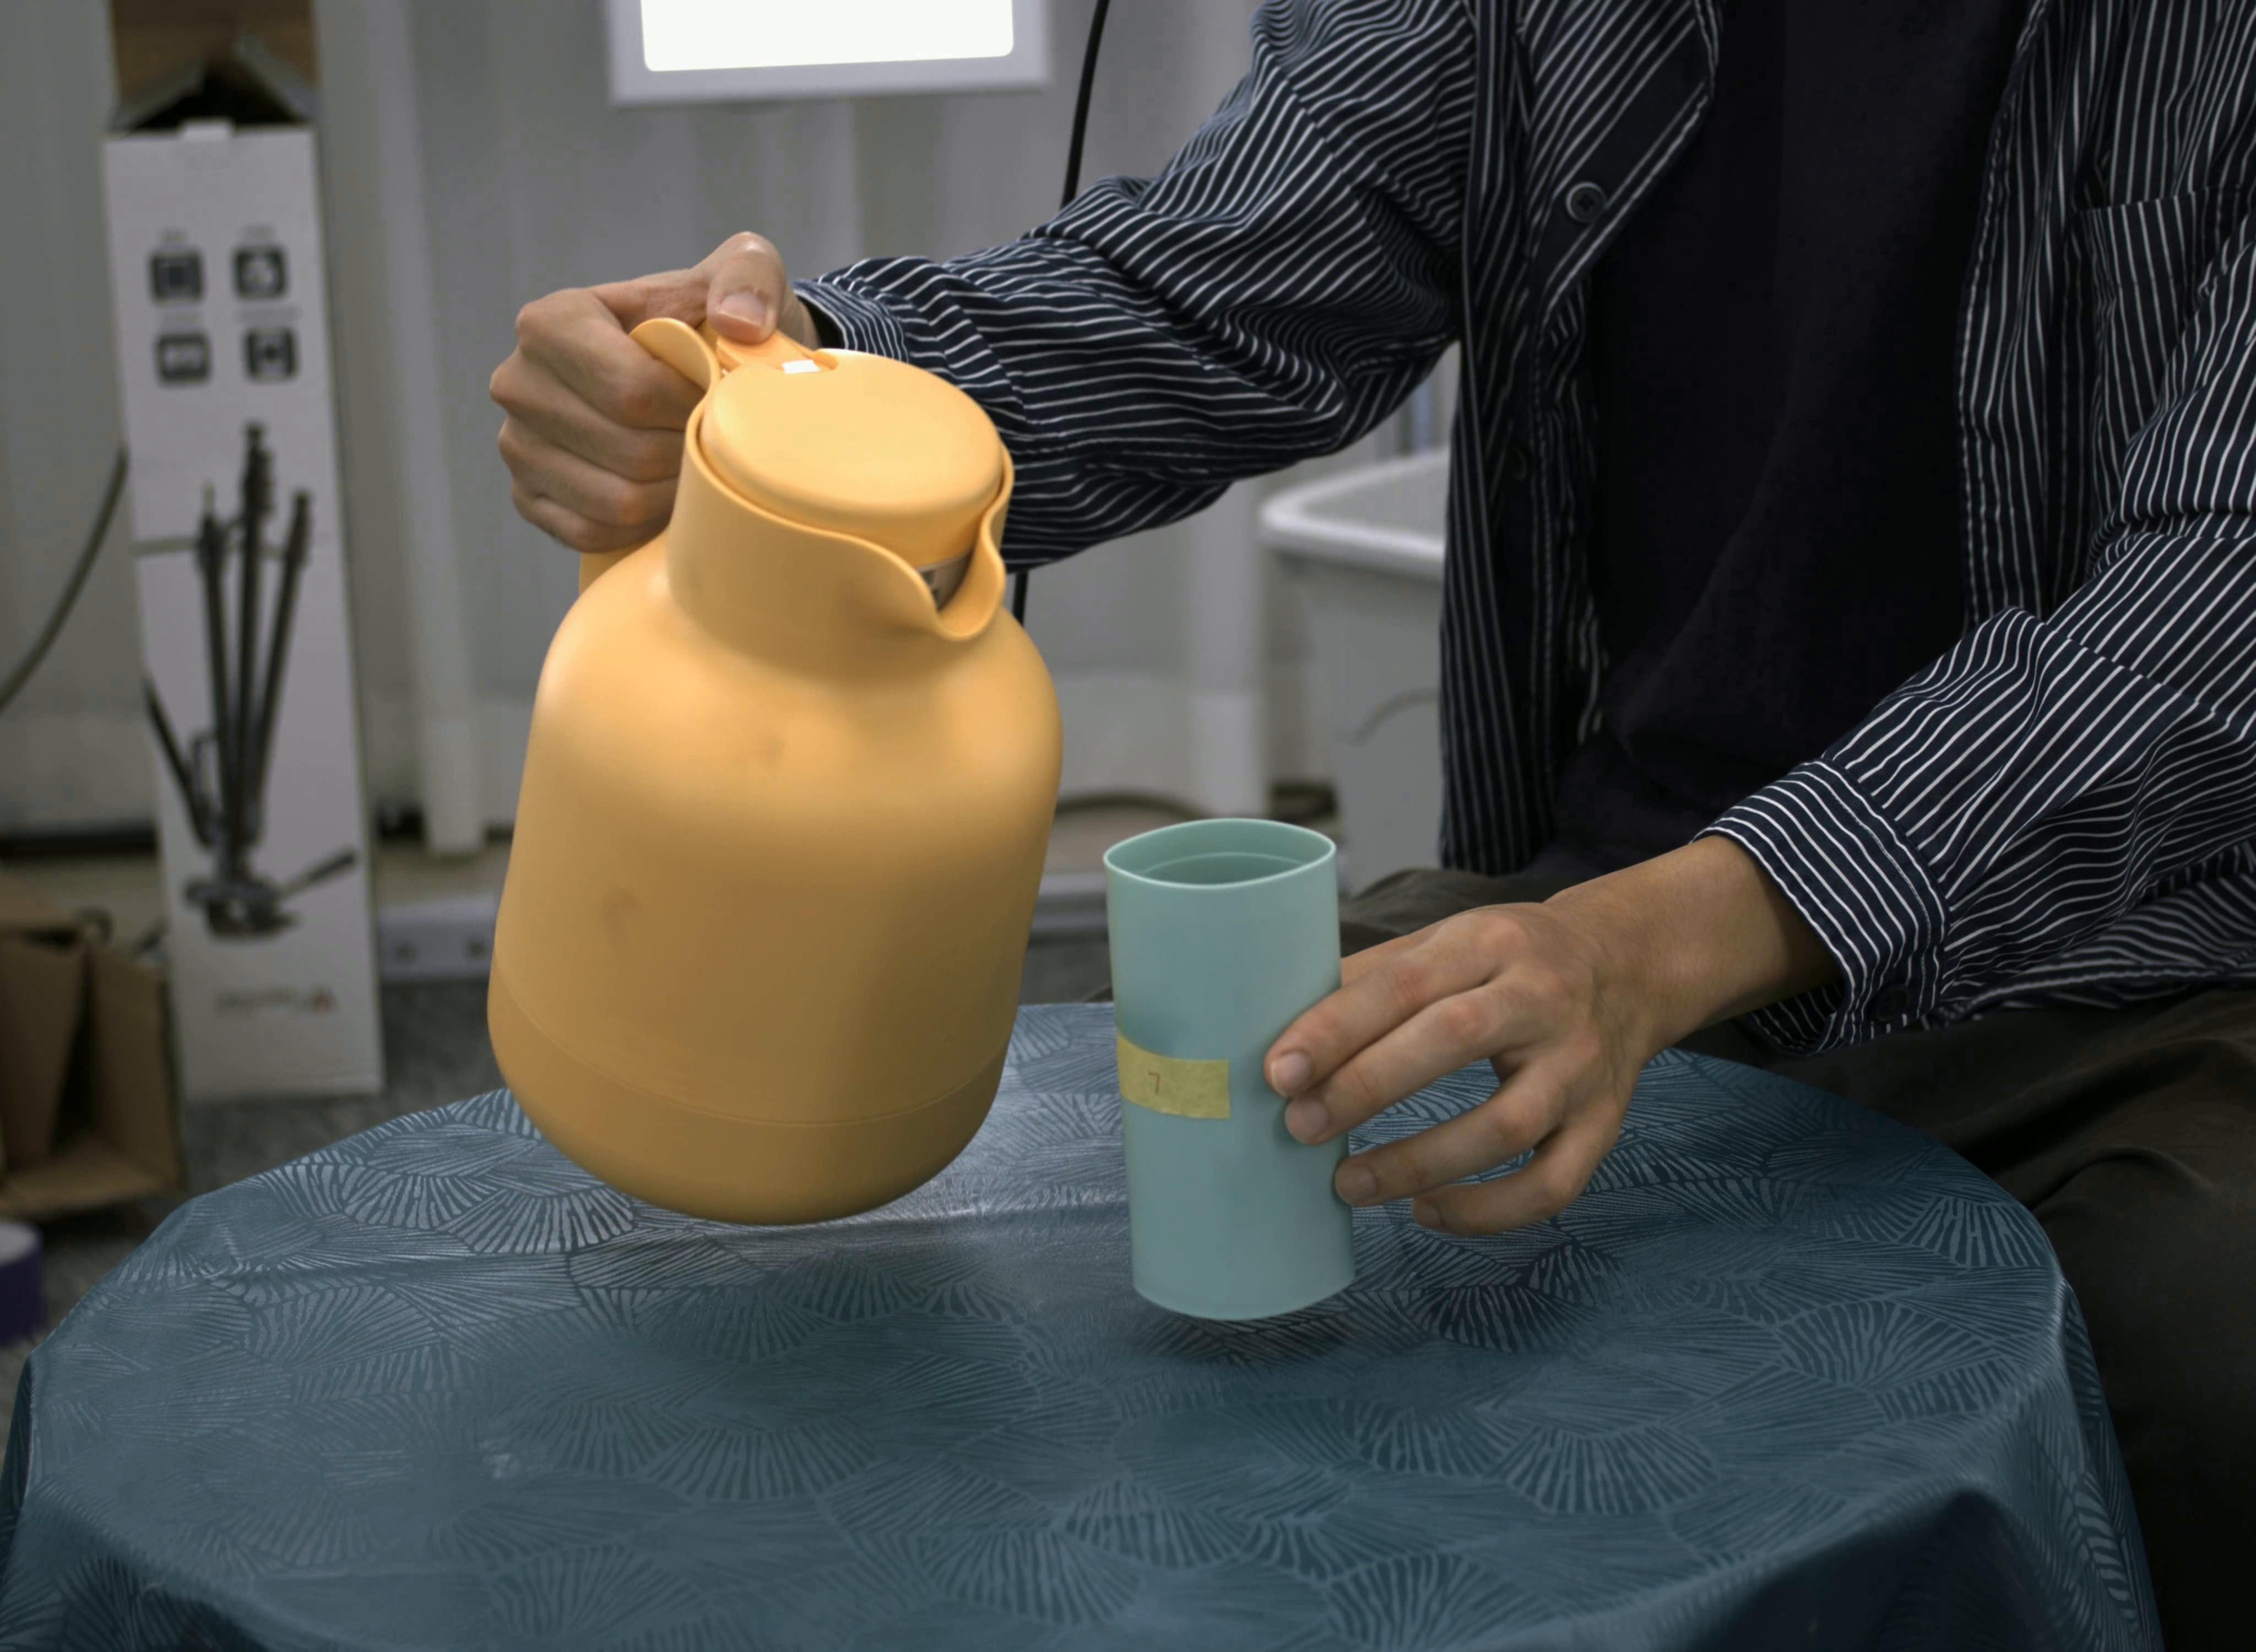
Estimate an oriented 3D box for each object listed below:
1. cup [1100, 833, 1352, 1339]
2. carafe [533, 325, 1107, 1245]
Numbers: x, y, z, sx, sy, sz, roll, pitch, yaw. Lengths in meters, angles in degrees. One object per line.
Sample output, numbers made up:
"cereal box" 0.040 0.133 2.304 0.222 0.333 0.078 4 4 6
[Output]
"cup" 0.030 0.073 1.568 0.066 0.132 0.067 -4 15 1
"carafe" -0.097 -0.022 1.668 0.163 0.258 0.205 -11 40 -33
